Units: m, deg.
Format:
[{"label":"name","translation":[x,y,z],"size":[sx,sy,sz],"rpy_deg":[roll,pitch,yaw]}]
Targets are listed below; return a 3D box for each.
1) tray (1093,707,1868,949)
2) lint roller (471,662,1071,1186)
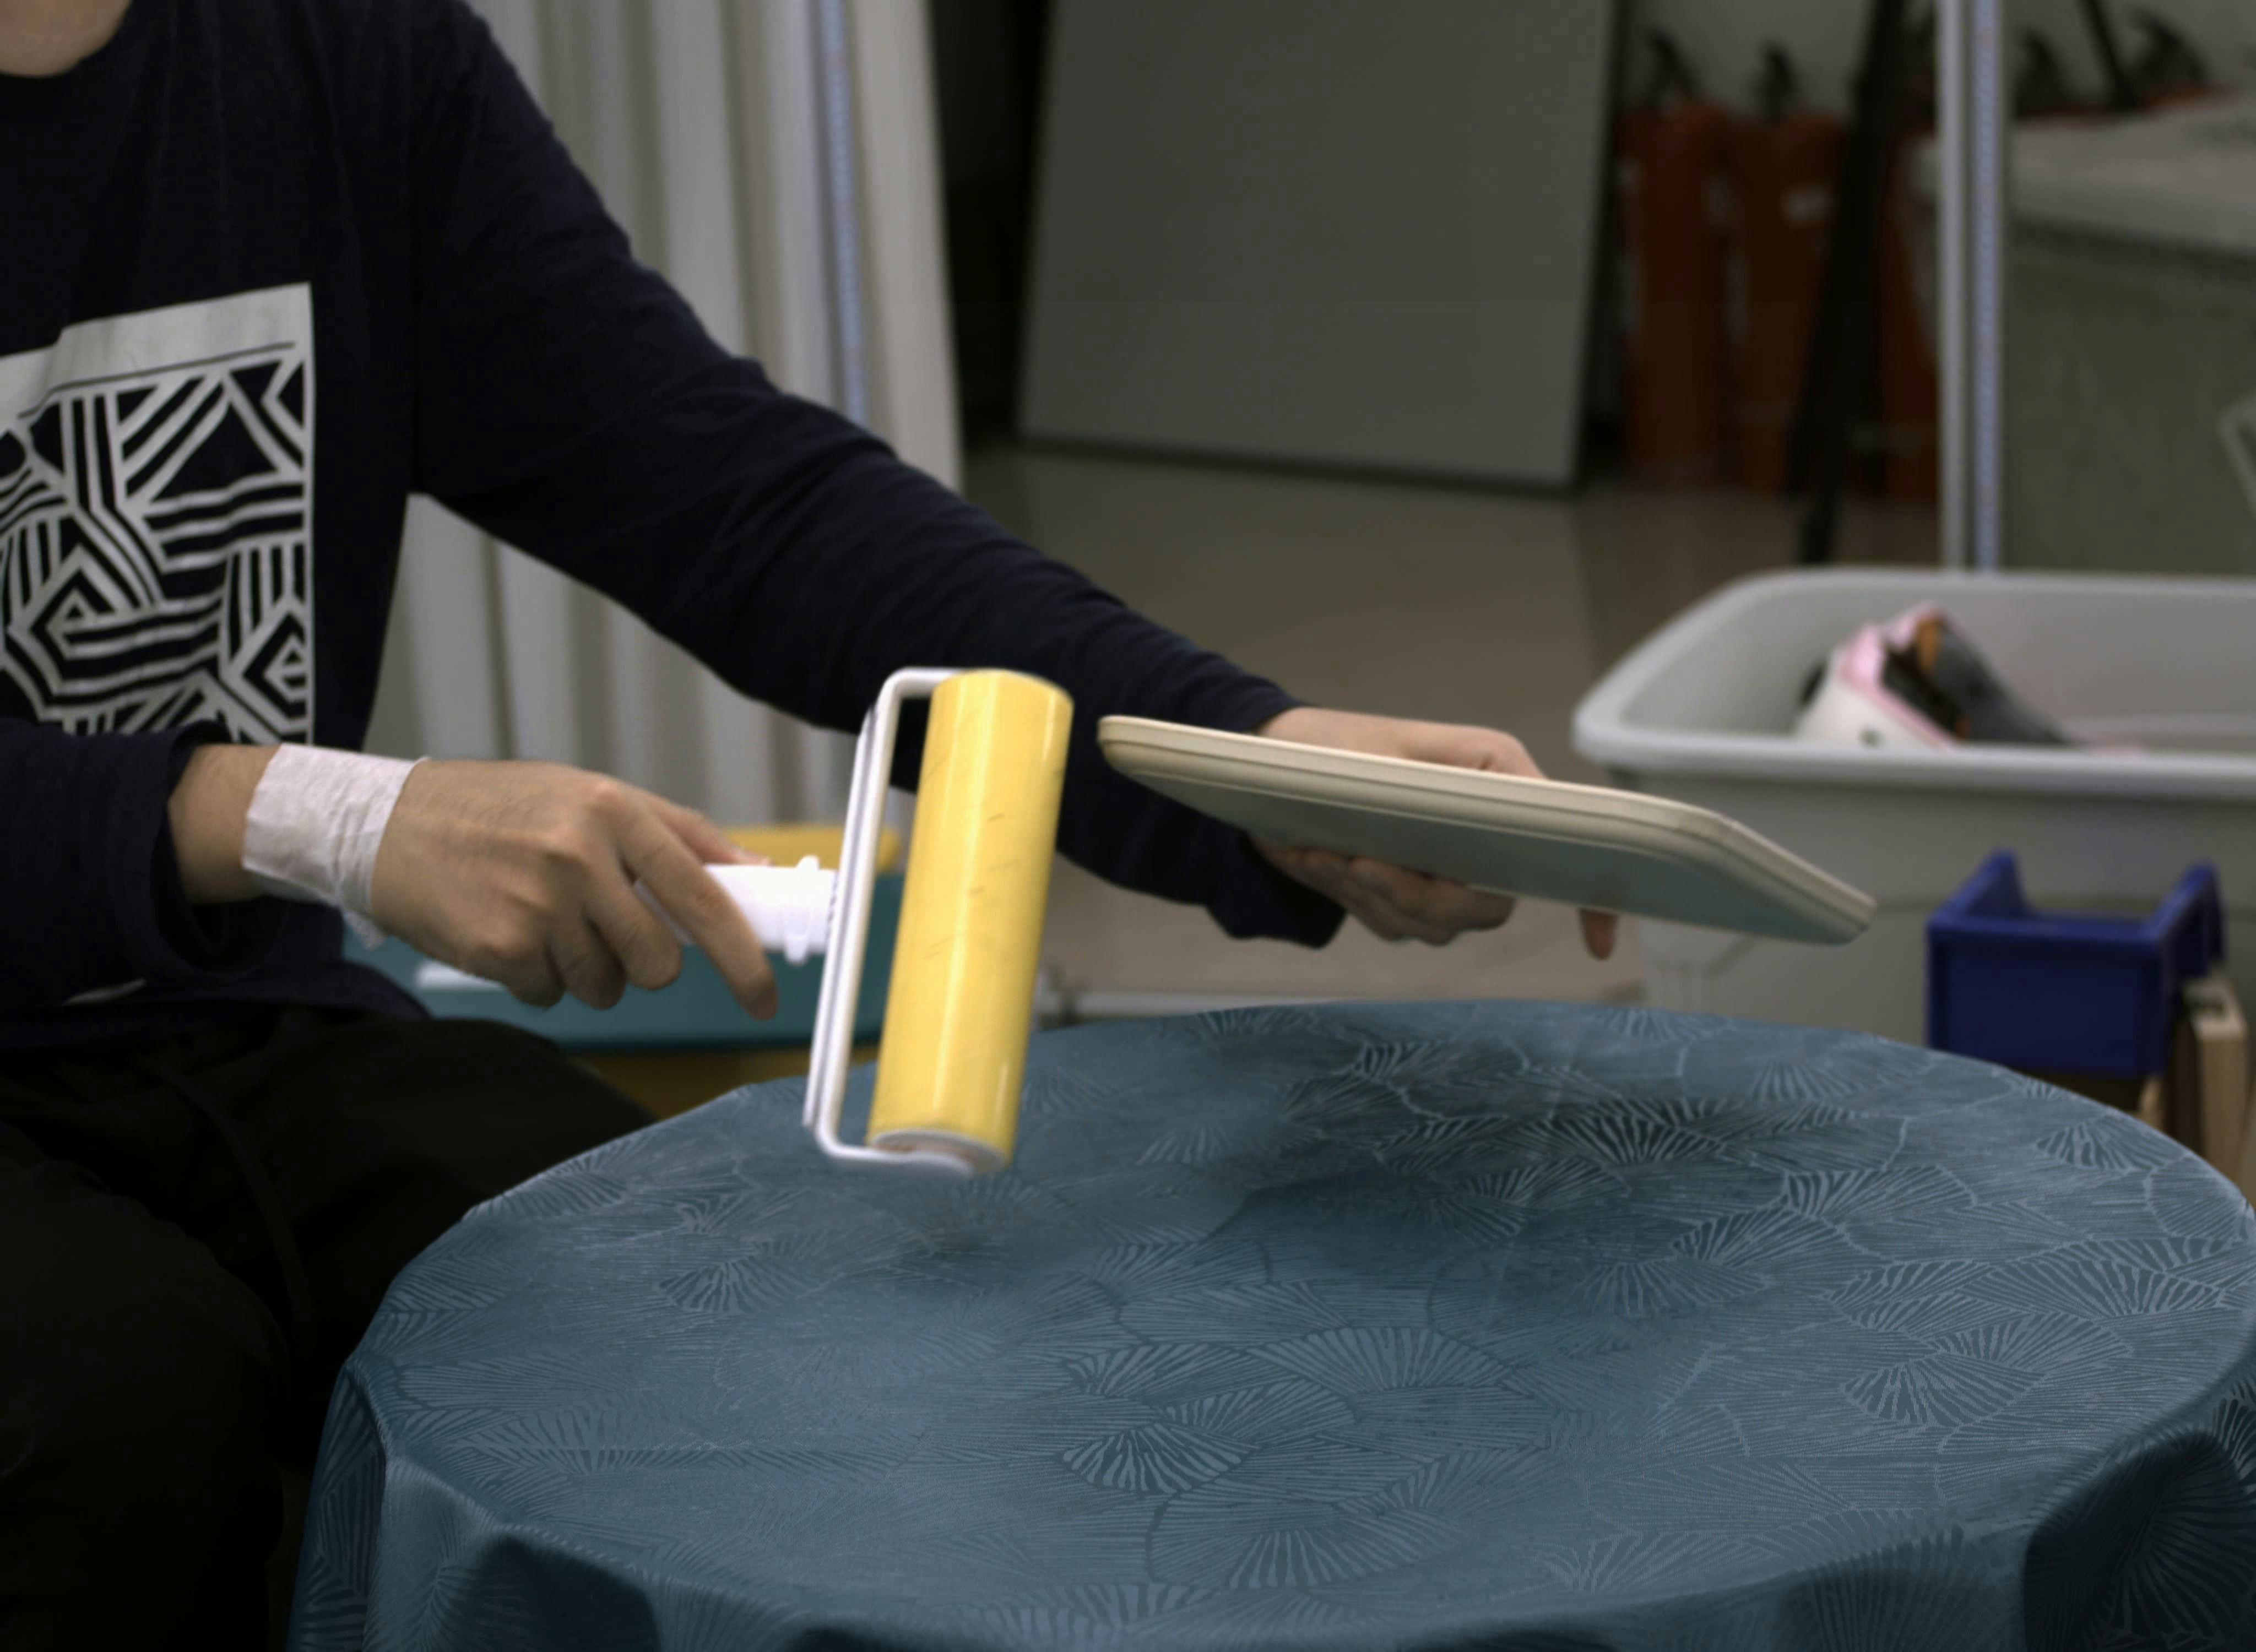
[{"label":"tray","translation":[0.115,0.003,1.785],"size":[0.241,0.017,0.168],"rpy_deg":[9,-10,34]},{"label":"lint roller","translation":[-0.119,0.024,1.752],"size":[0.189,0.176,0.051],"rpy_deg":[5,-22,0]}]
